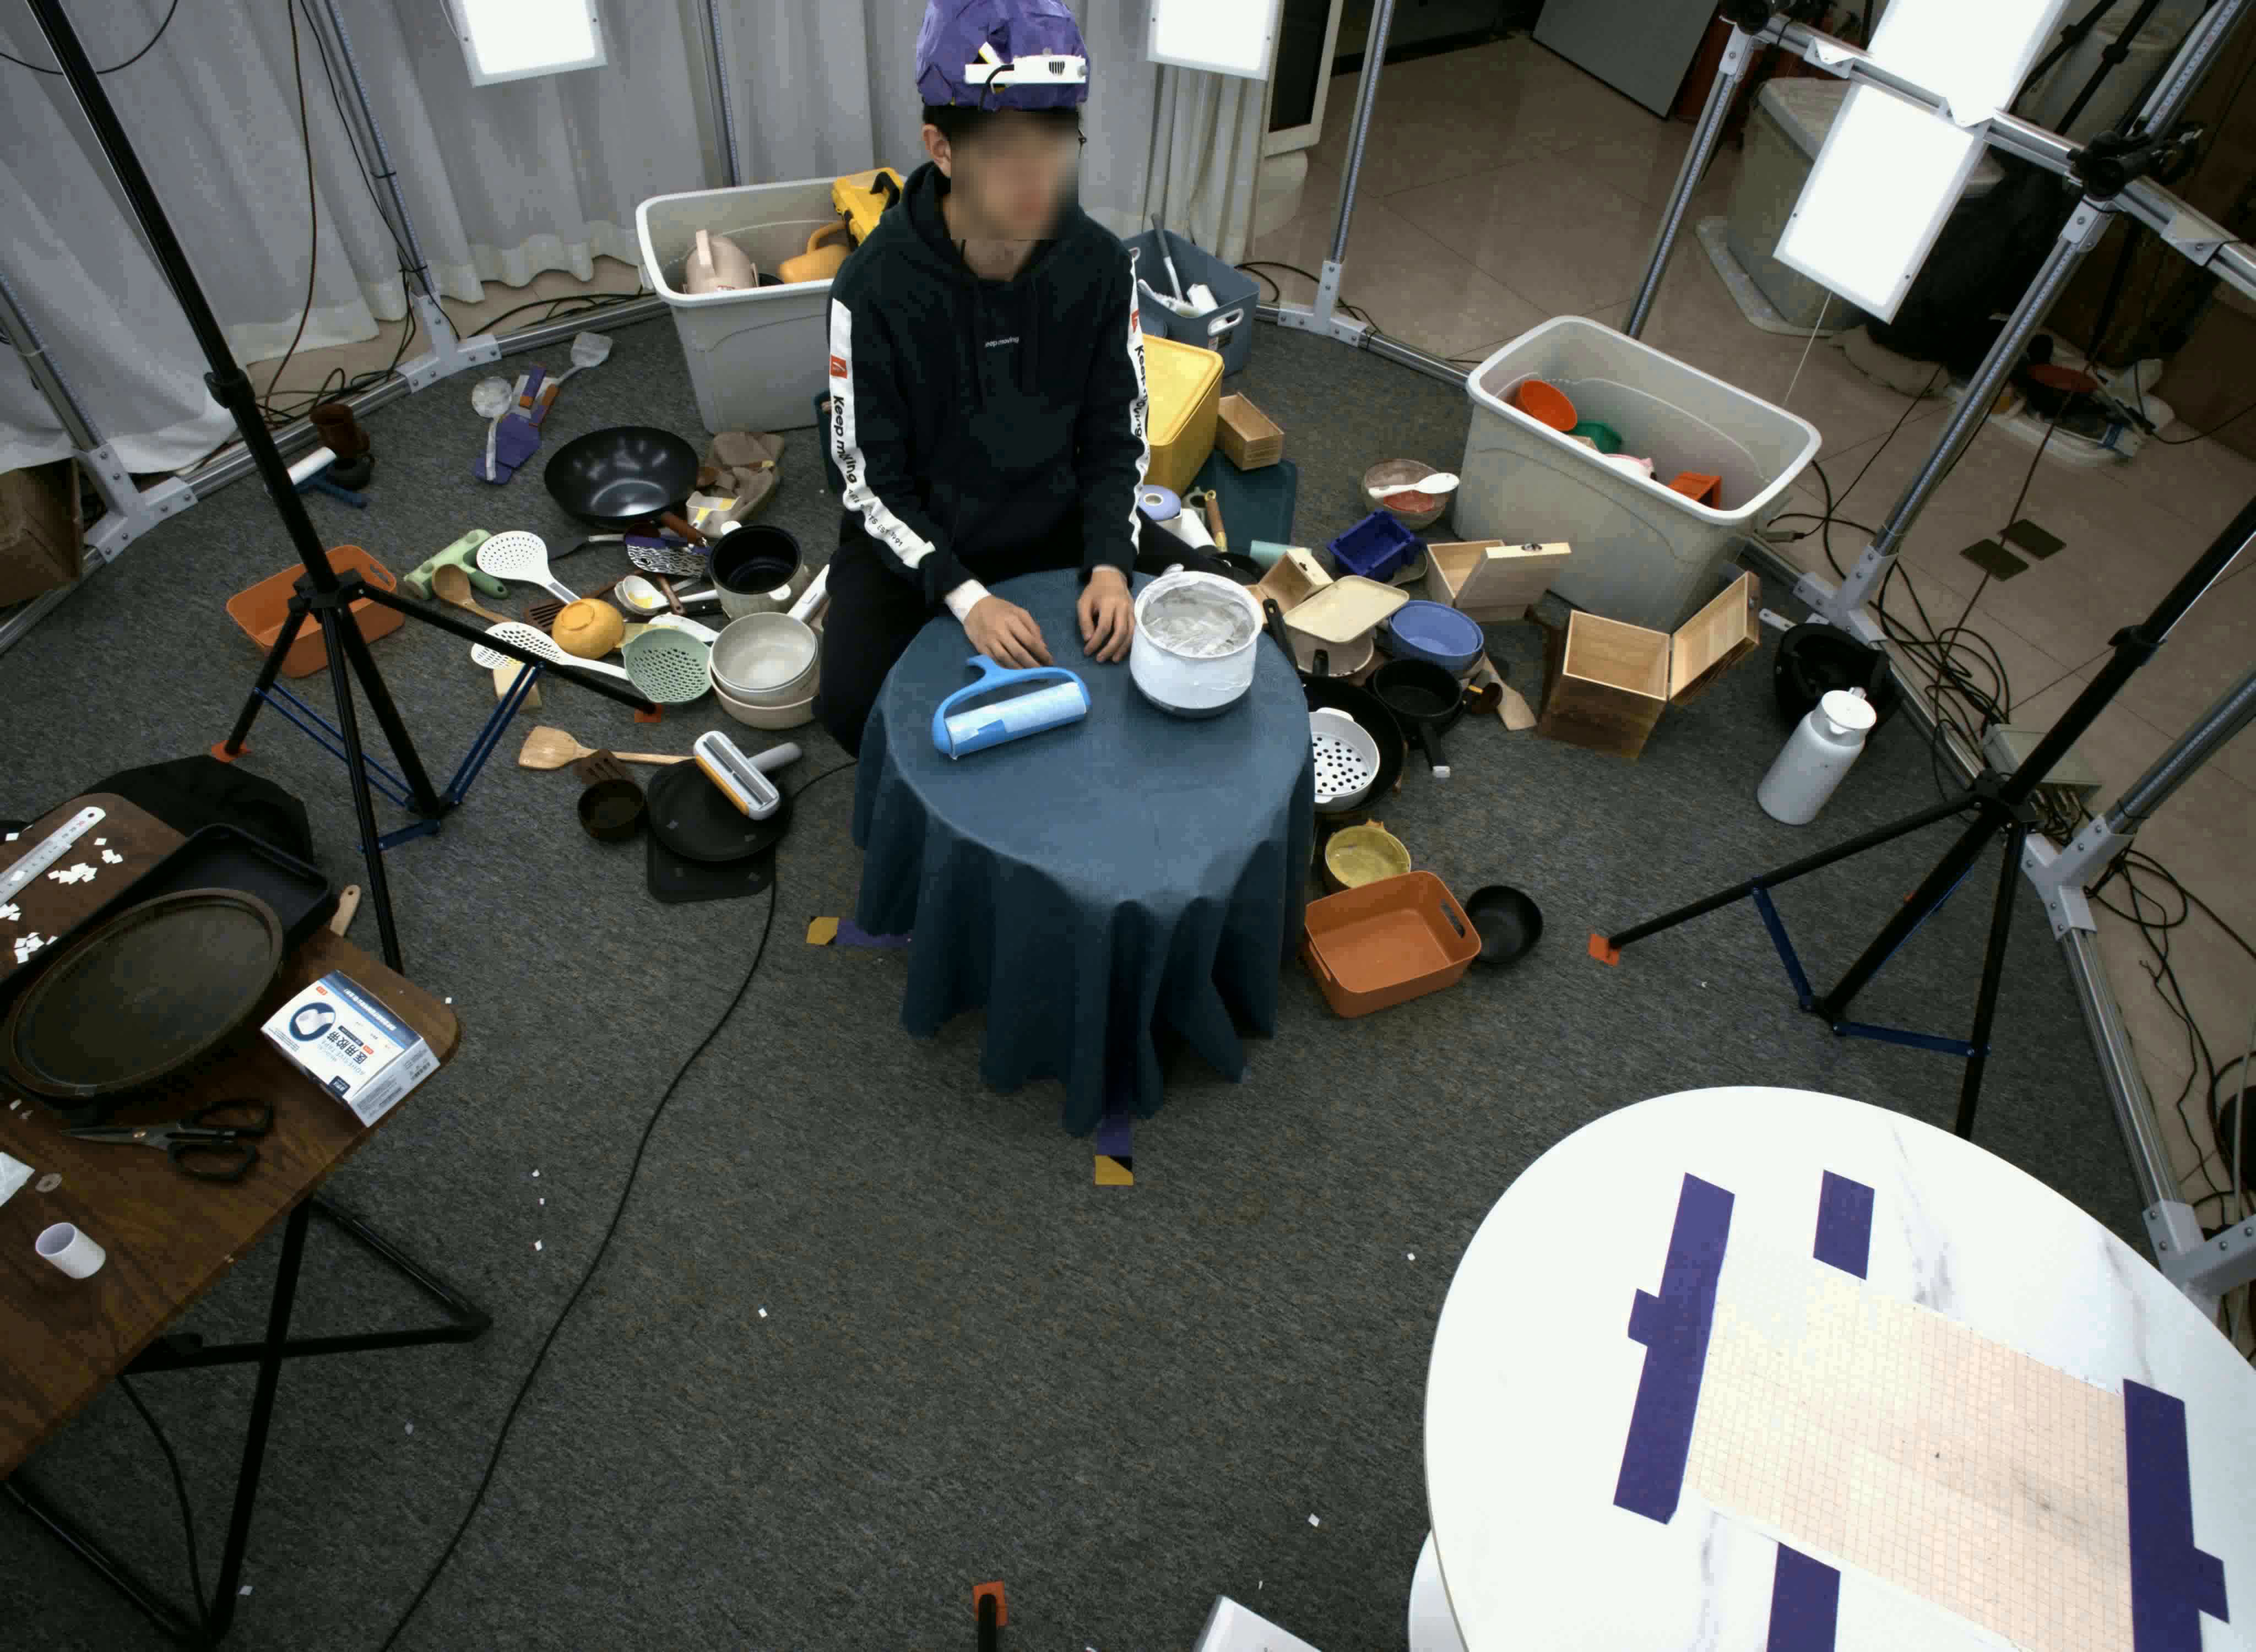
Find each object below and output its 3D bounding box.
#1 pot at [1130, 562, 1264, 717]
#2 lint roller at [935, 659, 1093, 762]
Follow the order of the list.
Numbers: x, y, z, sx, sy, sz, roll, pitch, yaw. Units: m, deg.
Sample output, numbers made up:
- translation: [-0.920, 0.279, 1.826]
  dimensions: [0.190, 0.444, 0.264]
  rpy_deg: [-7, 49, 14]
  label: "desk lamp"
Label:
- translation: [0.085, -0.273, 1.819]
  dimensions: [0.178, 0.133, 0.239]
  rpy_deg: [-10, 52, -13]
  label: "pot"
- translation: [-0.182, -0.186, 1.781]
  dimensions: [0.229, 0.066, 0.184]
  rpy_deg: [-23, 55, -19]
  label: "lint roller"
